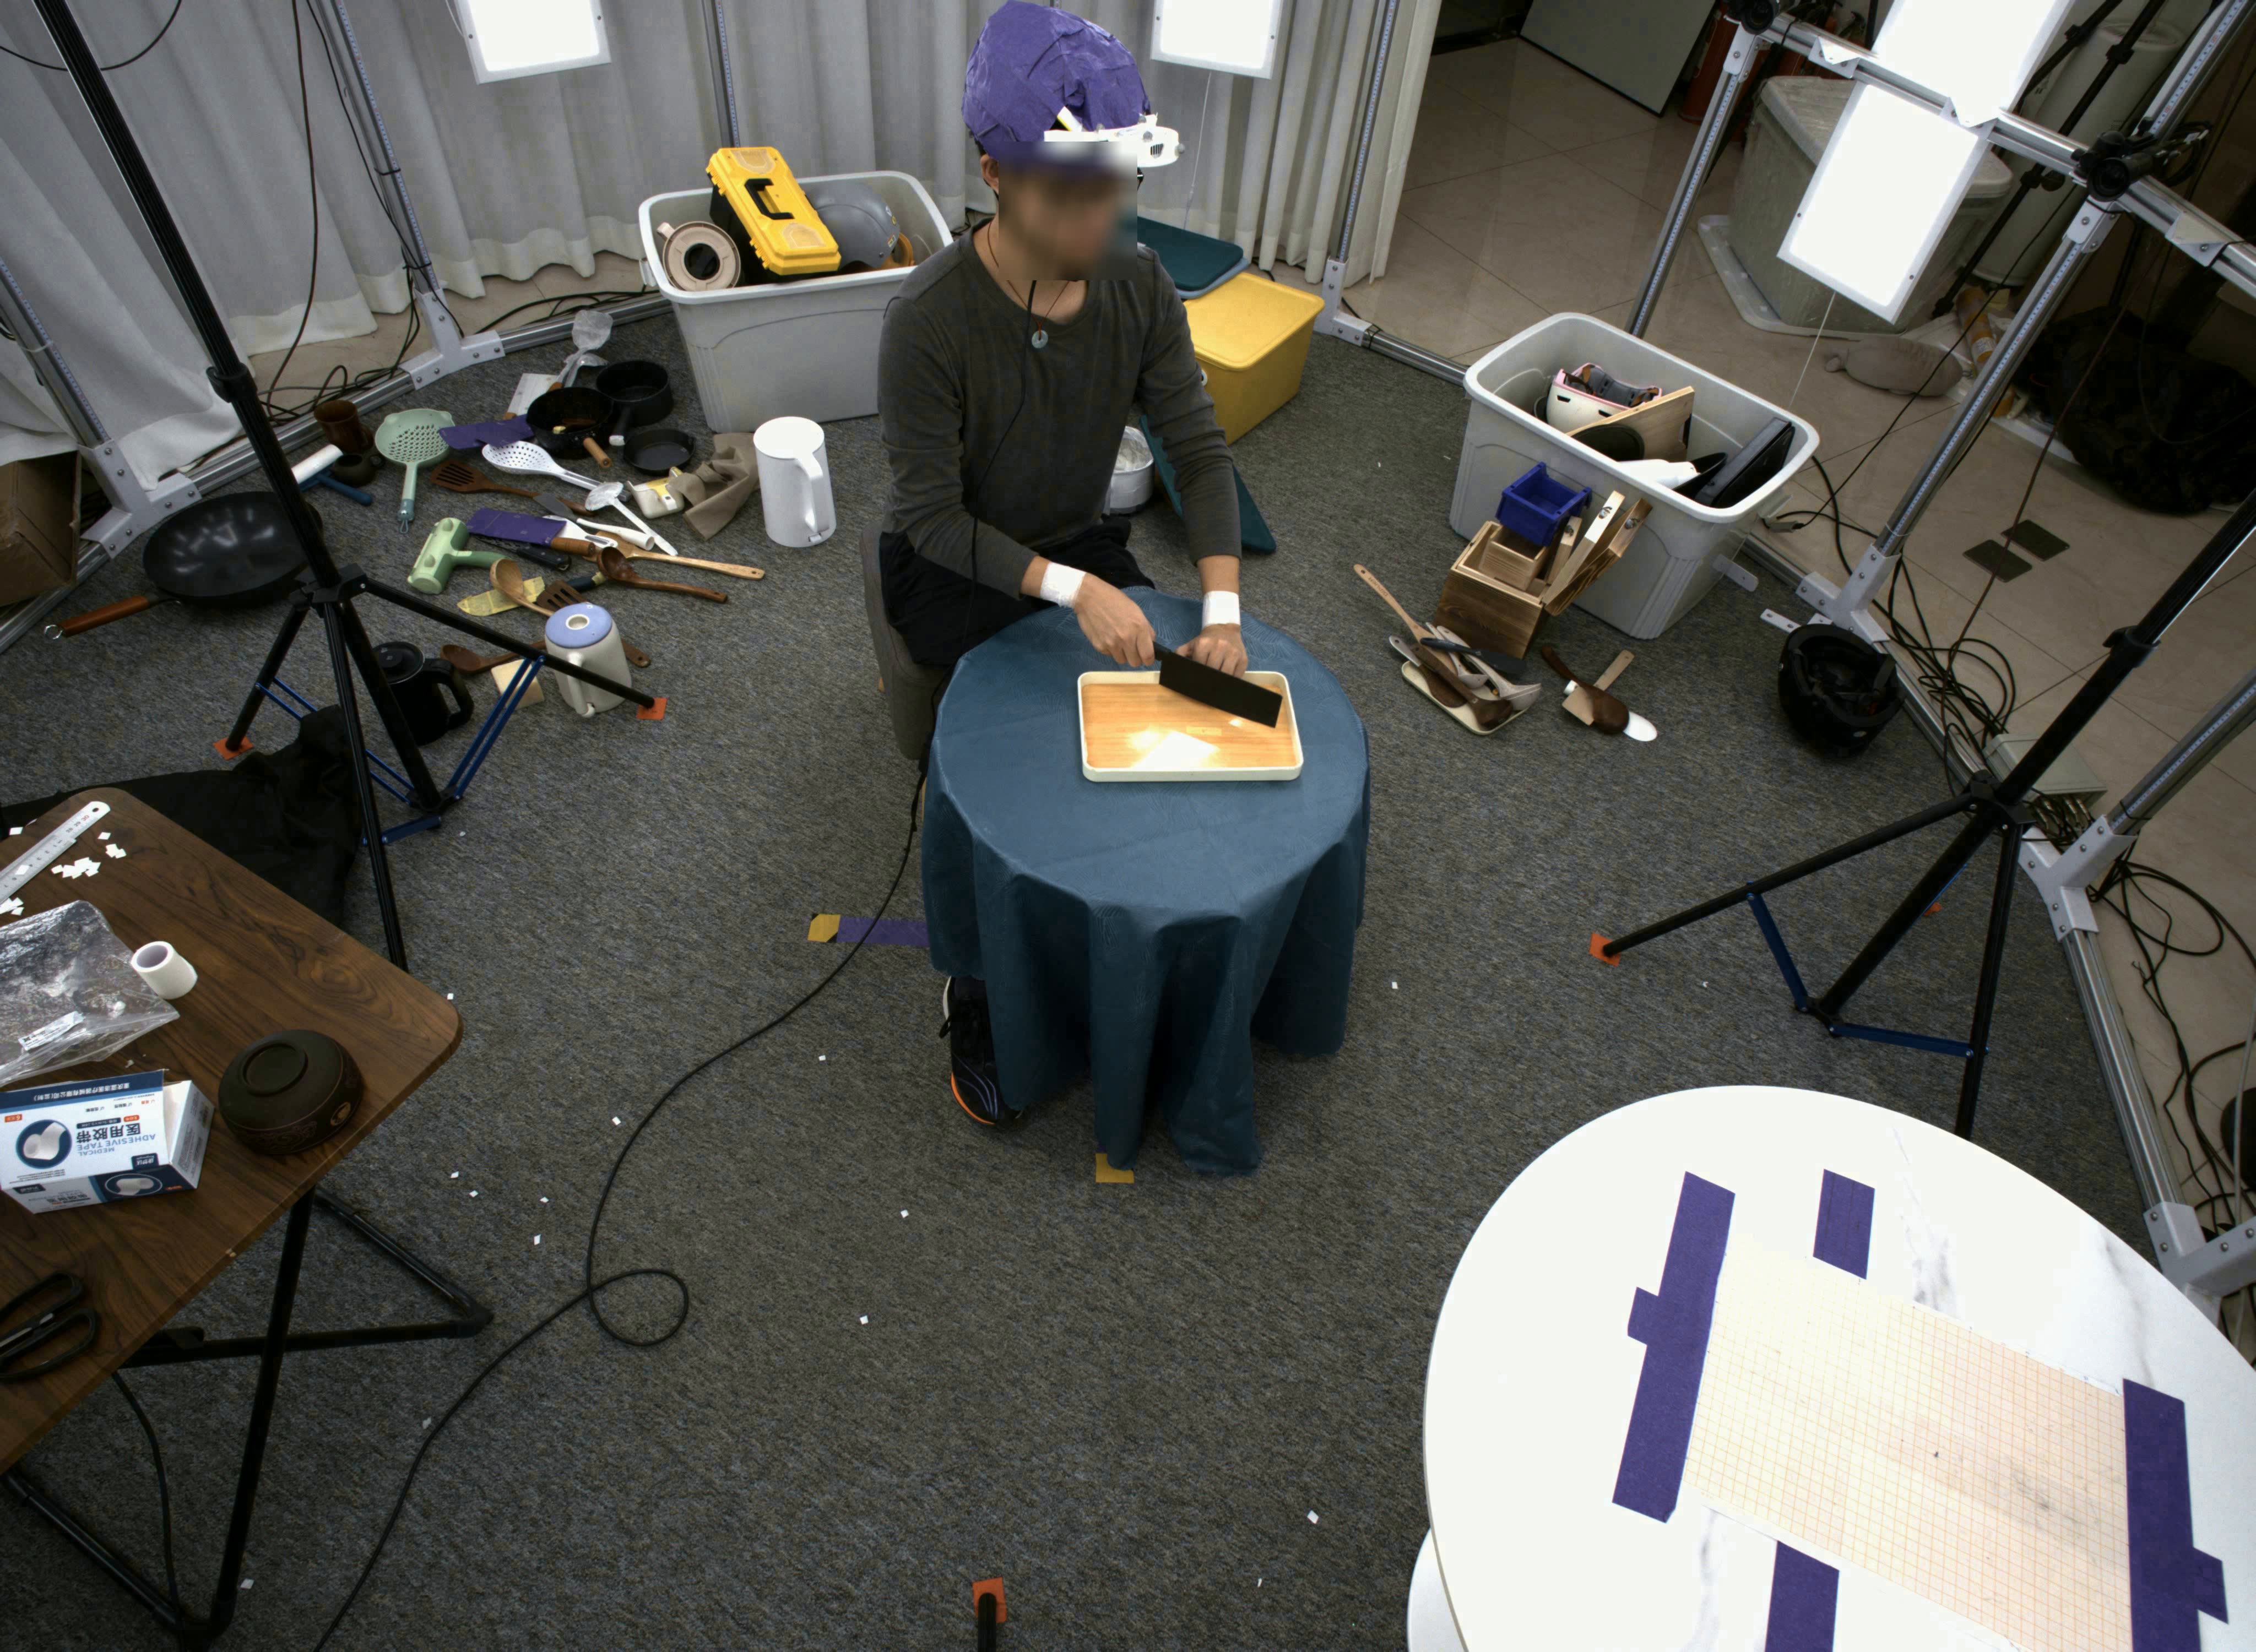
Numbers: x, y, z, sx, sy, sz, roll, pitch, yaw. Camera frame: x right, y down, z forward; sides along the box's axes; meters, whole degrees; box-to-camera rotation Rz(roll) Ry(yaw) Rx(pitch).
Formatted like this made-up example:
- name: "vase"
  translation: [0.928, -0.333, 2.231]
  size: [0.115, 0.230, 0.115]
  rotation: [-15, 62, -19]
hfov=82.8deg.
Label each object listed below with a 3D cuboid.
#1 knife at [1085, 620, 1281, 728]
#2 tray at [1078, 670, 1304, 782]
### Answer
- name: "knife"
  translation: [0.074, -0.215, 1.791]
  size: [0.304, 0.079, 0.021]
  rotation: [27, 48, 13]
- name: "tray"
  translation: [0.083, -0.141, 1.778]
  size: [0.300, 0.027, 0.196]
  rotation: [-1, 49, -4]
